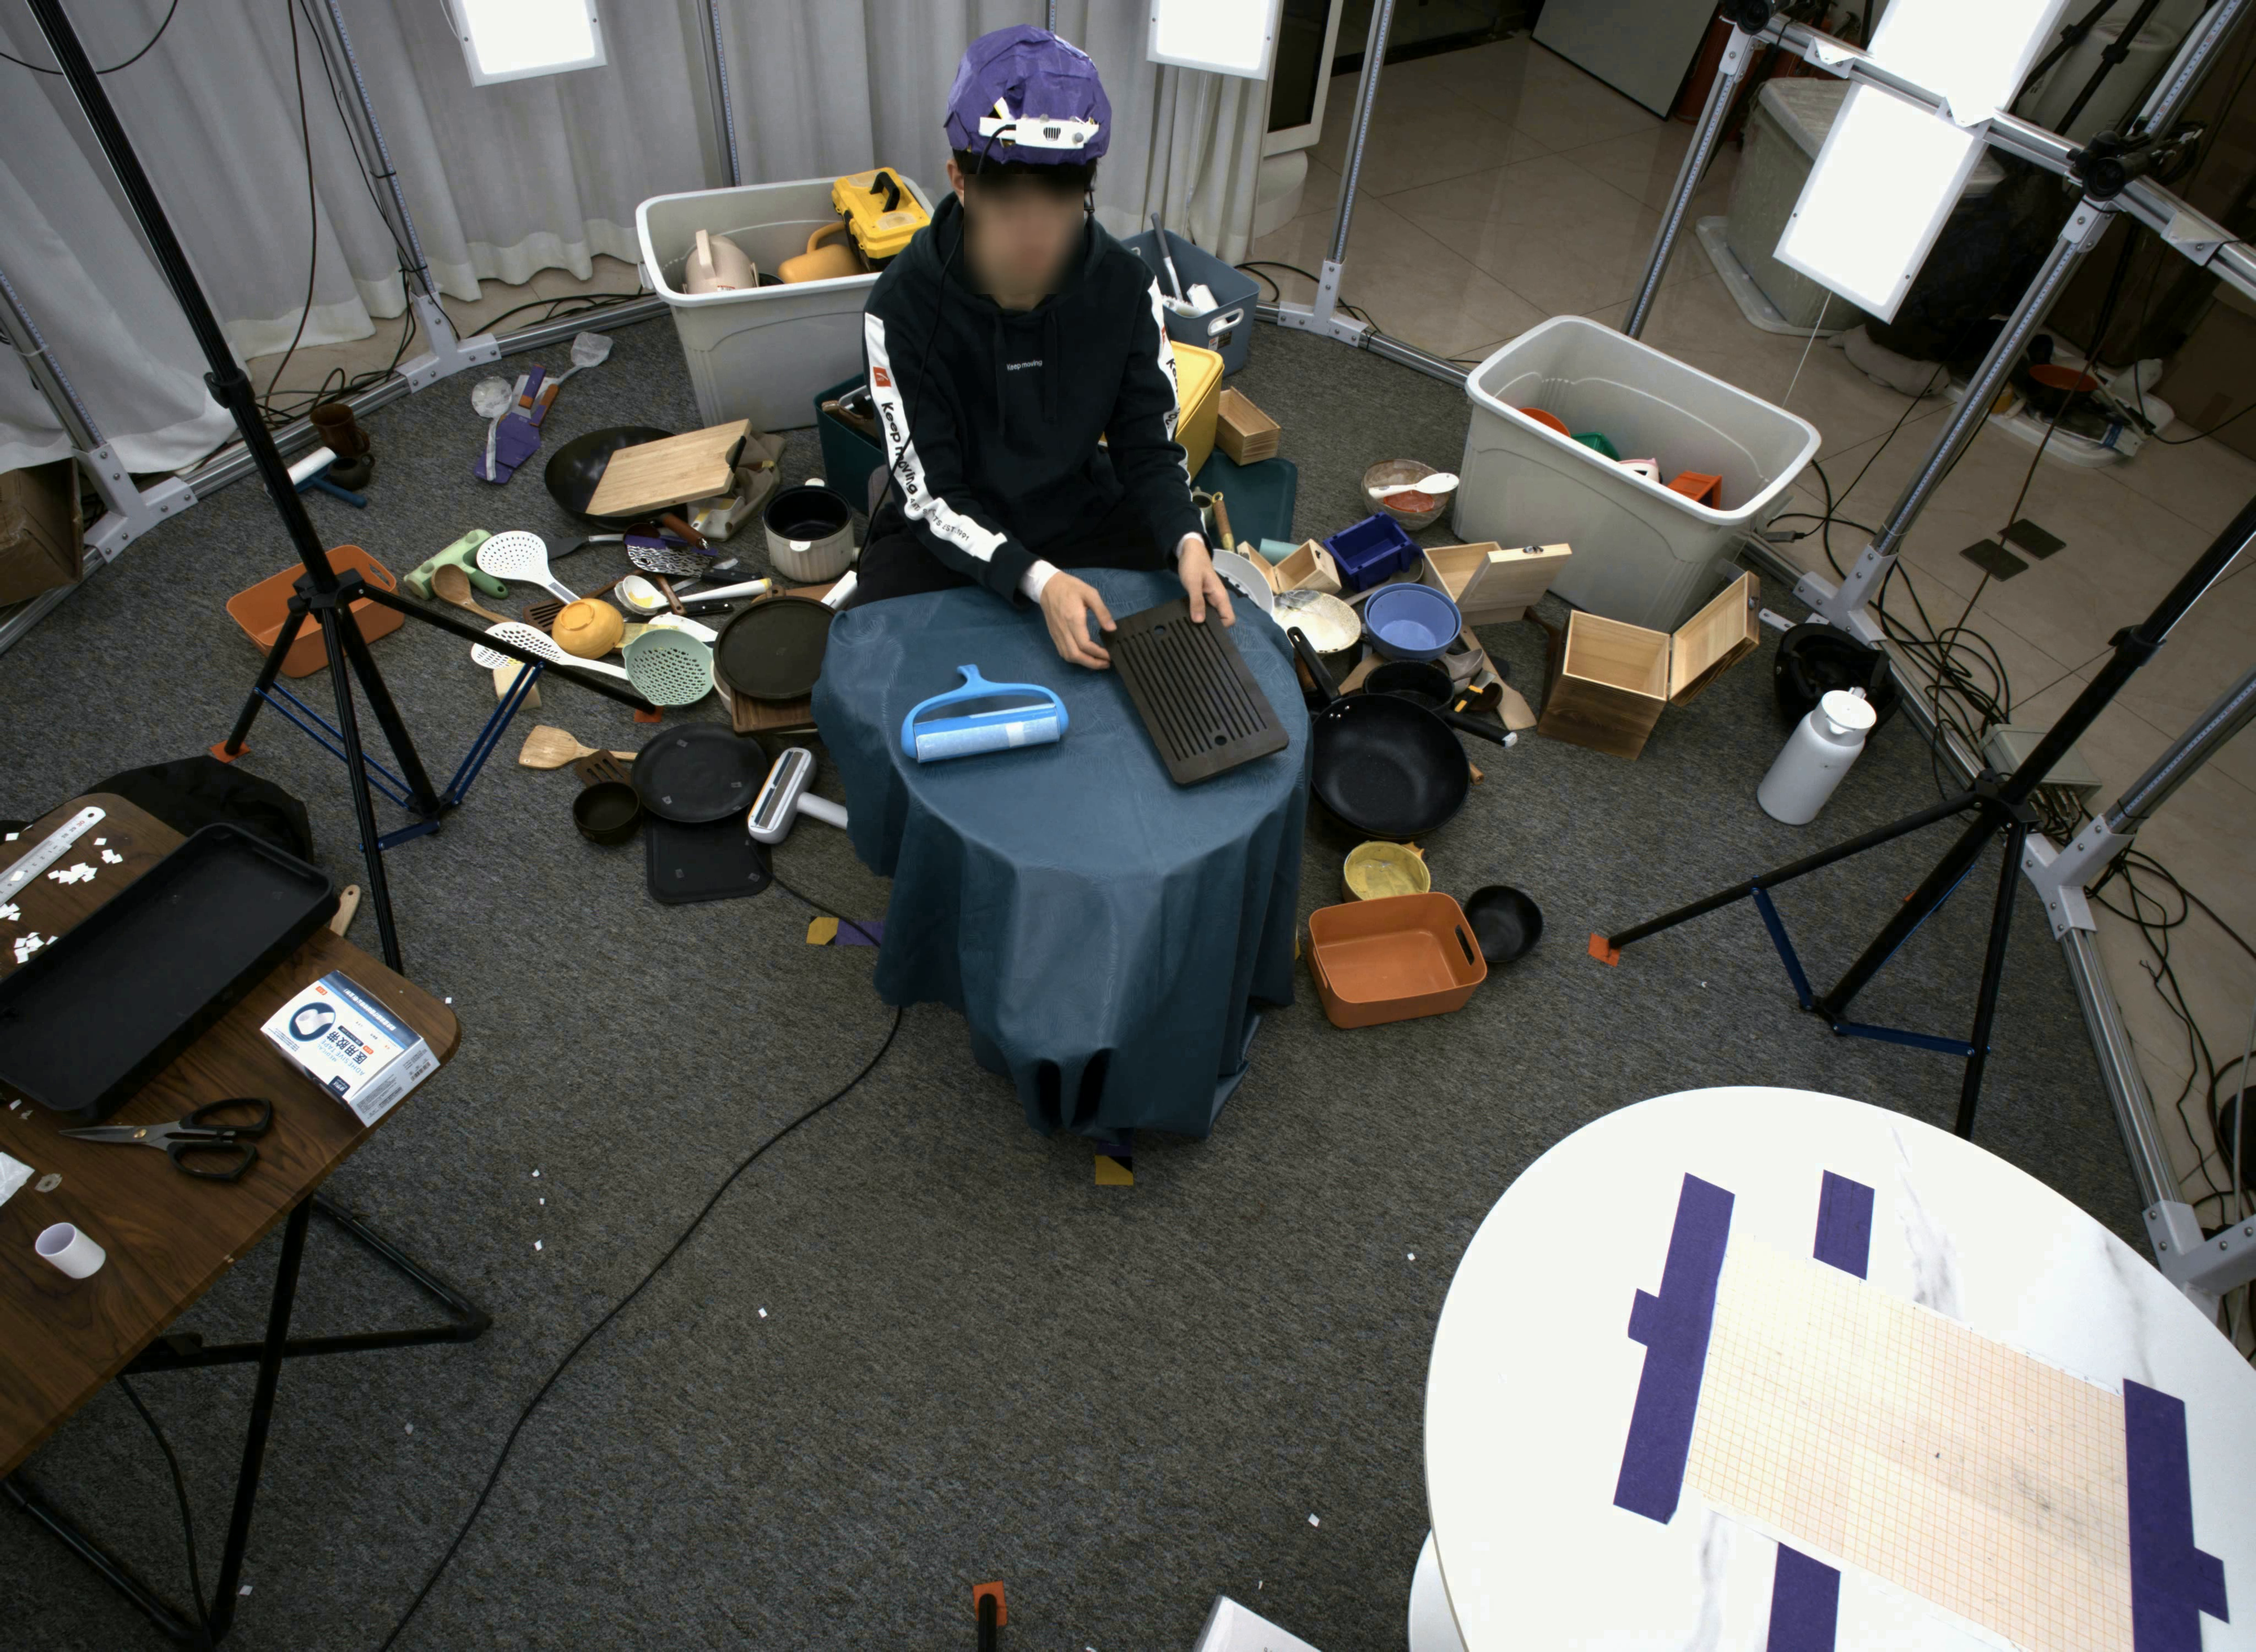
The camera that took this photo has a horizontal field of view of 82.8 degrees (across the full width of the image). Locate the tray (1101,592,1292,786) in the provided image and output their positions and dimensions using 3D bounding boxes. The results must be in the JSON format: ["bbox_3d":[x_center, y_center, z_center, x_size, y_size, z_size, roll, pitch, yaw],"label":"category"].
[{"bbox_3d":[0.092,-0.197,1.803,0.170,0.018,0.313,-20,57,-8],"label":"tray"}]

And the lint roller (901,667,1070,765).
[{"bbox_3d":[-0.208,-0.171,1.765,0.229,0.066,0.184,-13,52,-12],"label":"lint roller"}]
